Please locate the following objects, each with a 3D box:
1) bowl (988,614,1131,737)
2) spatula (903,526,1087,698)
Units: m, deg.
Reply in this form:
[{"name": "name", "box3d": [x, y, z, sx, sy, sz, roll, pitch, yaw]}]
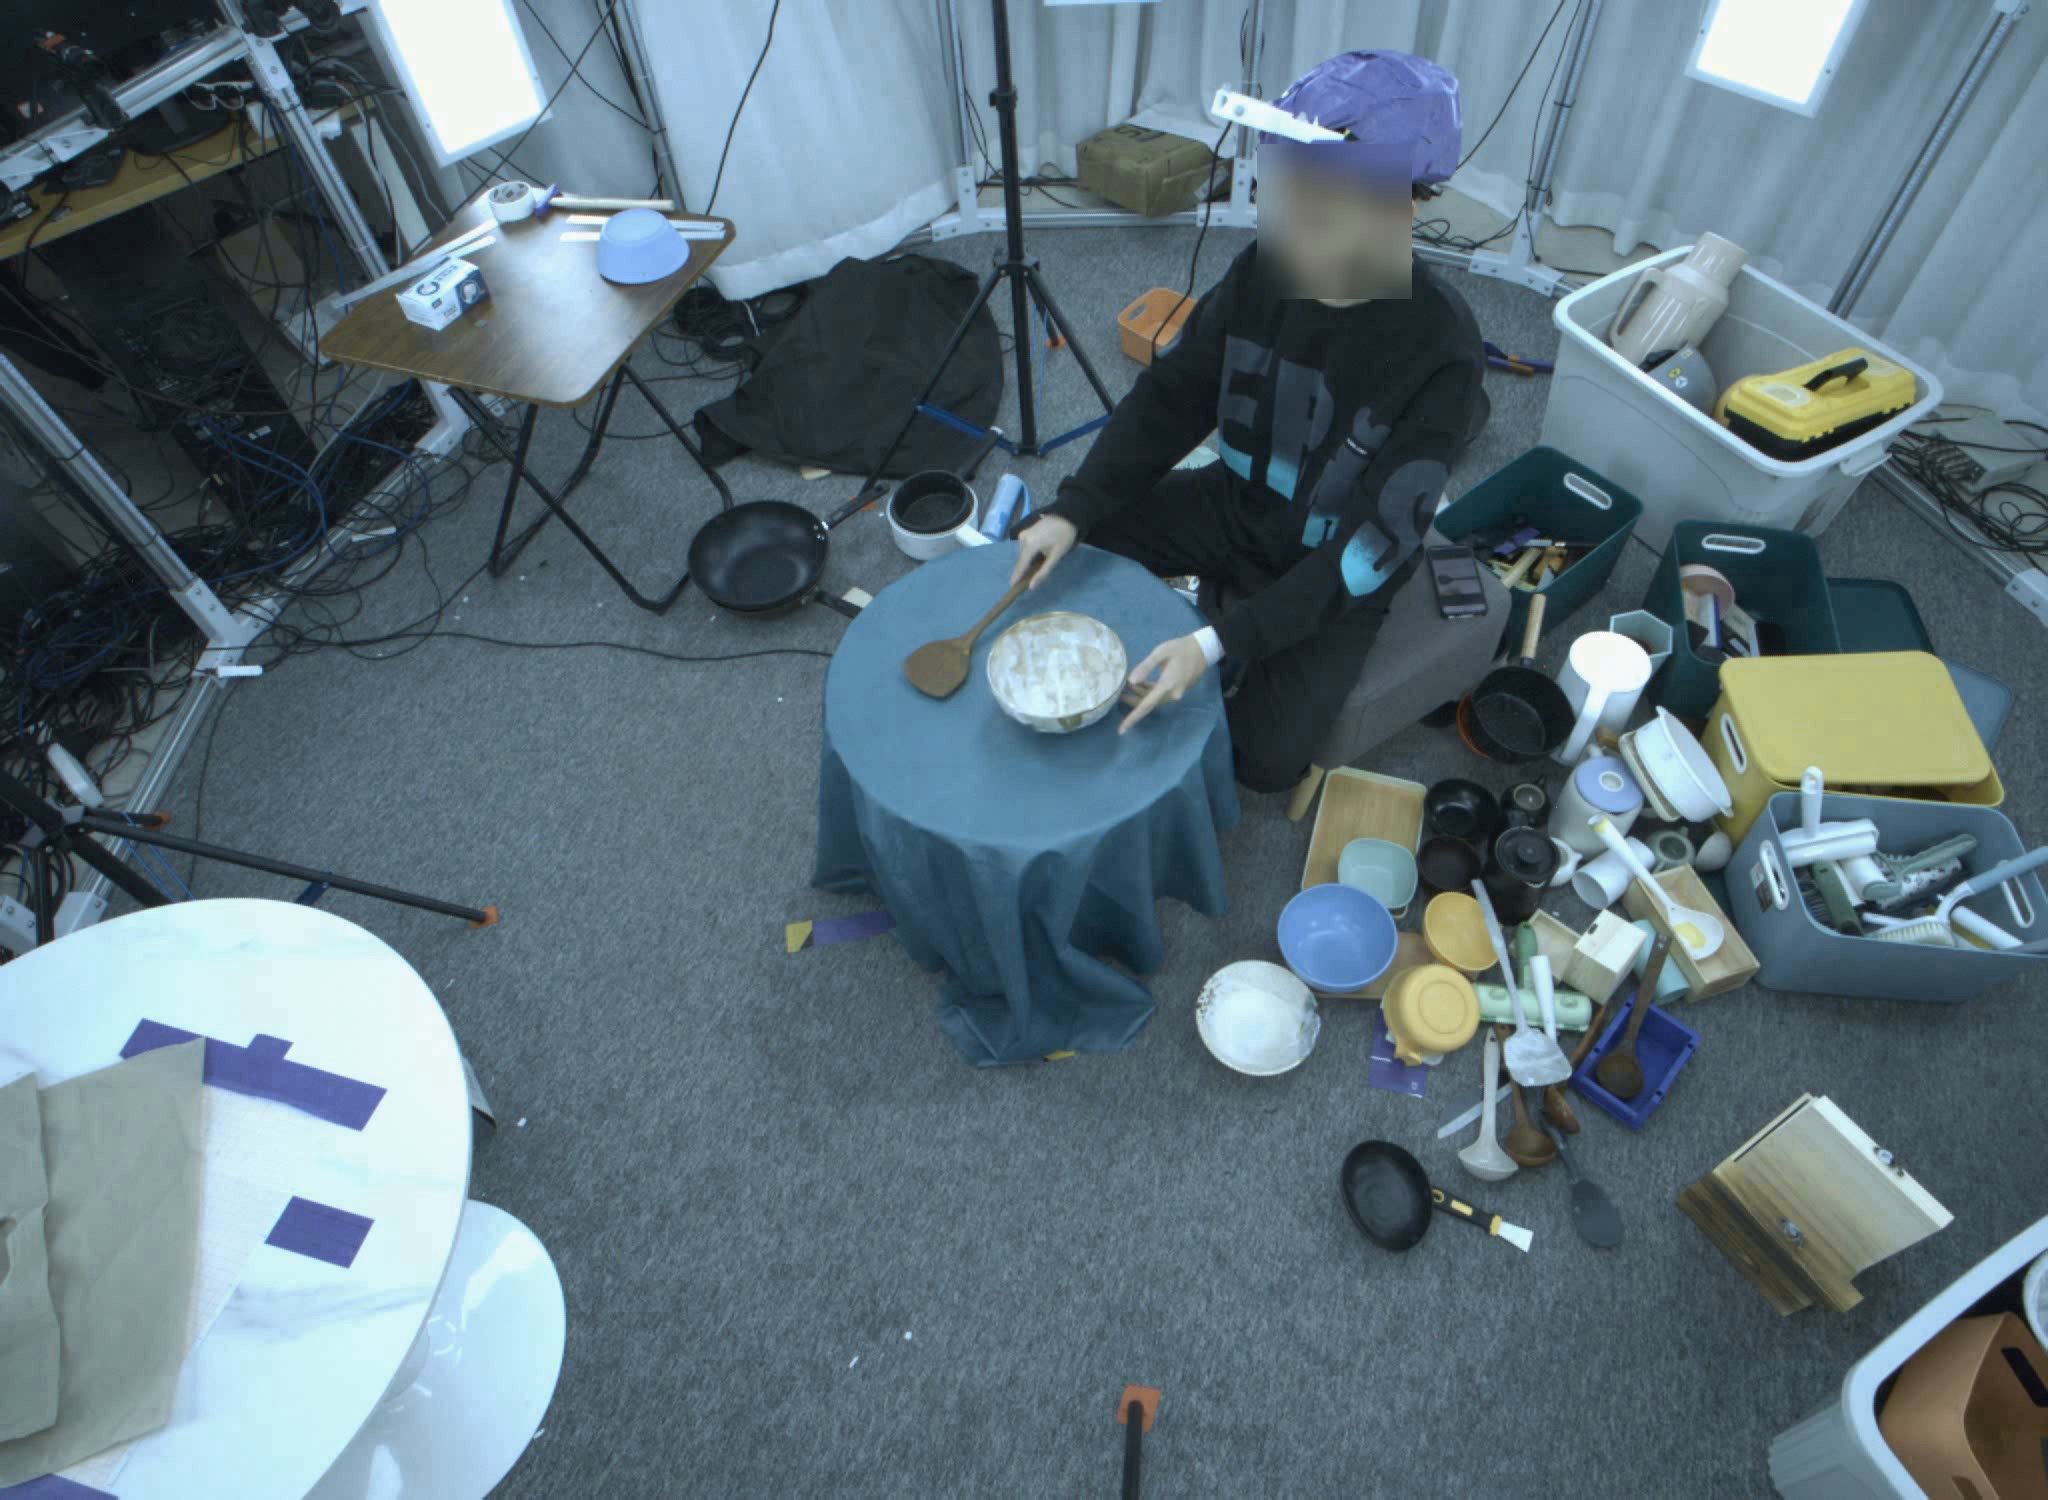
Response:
[{"name": "bowl", "box3d": [0.056, -0.094, 1.804, 0.214, 0.095, 0.212, -1, 53, 2]}, {"name": "spatula", "box3d": [-0.033, -0.227, 1.911, 0.095, 0.016, 0.387, 38, 72, 19]}]
